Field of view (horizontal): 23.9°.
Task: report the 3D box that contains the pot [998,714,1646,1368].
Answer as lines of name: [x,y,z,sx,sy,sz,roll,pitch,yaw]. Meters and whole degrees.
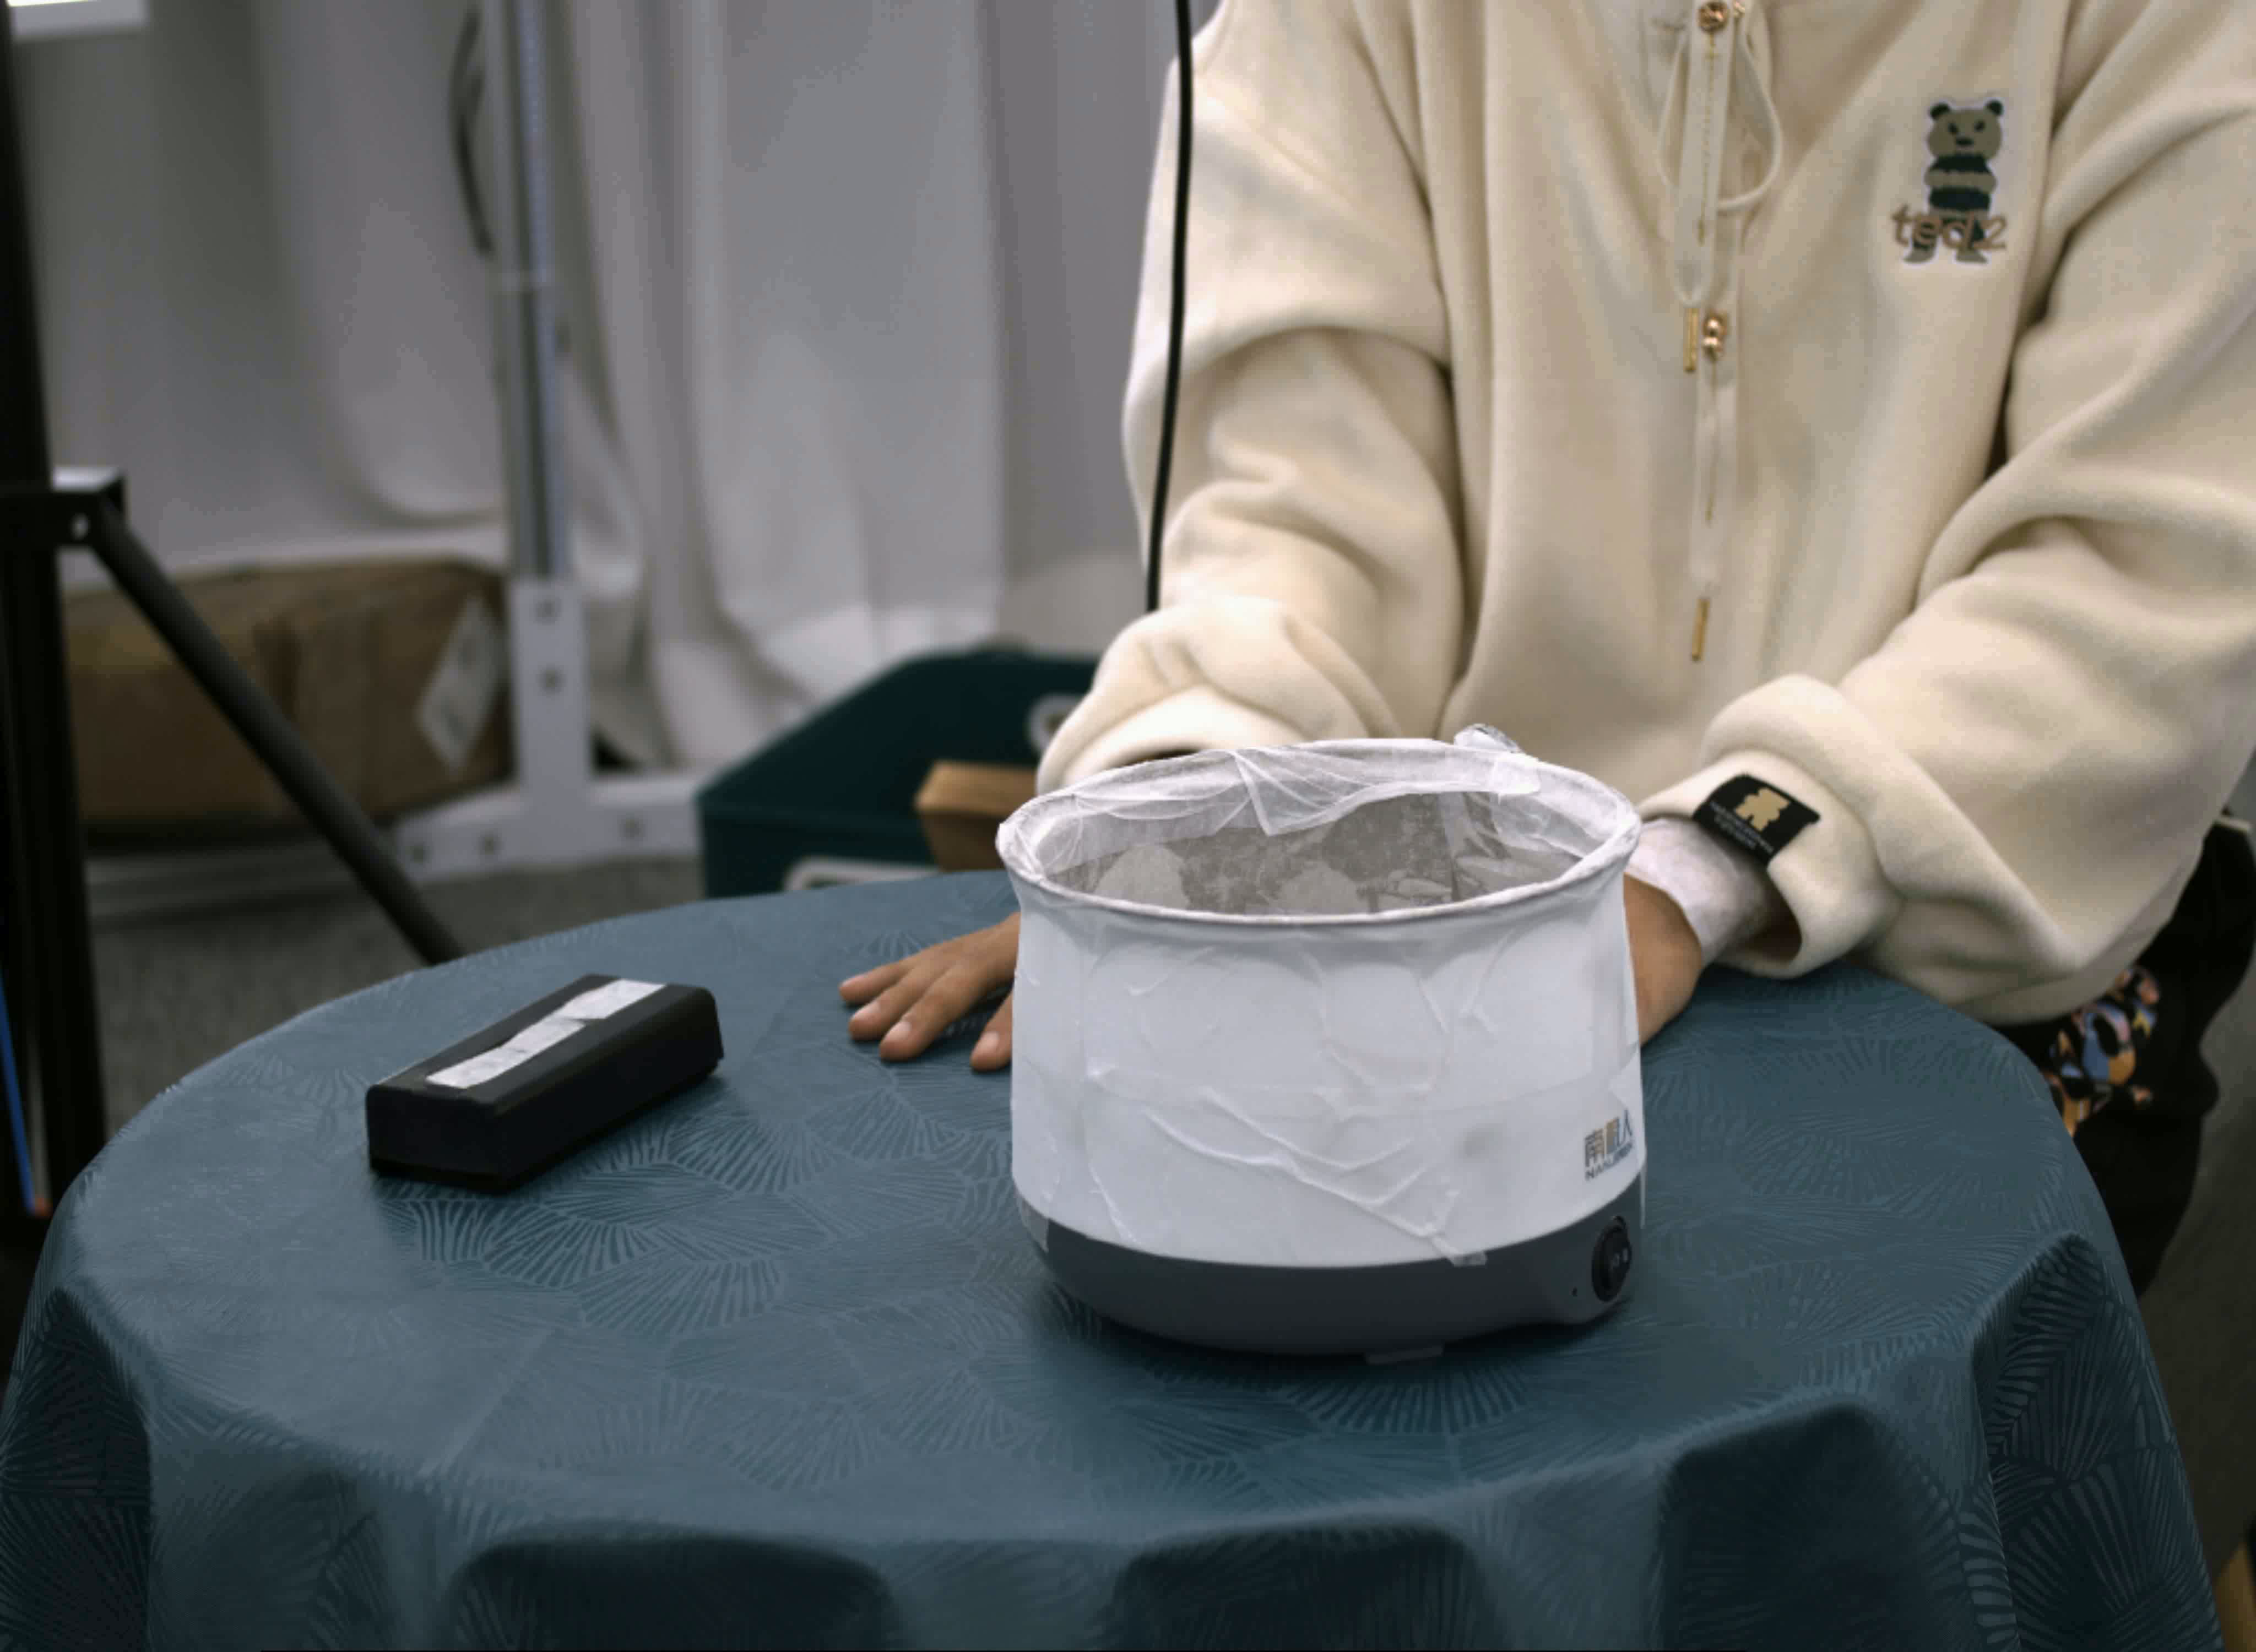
pot: [0.068,0.053,1.486,0.182,0.136,0.230,7,19,29]

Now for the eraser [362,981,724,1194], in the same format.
eraser: [-0.178,0.079,1.638,0.054,0.030,0.123,7,17,28]
